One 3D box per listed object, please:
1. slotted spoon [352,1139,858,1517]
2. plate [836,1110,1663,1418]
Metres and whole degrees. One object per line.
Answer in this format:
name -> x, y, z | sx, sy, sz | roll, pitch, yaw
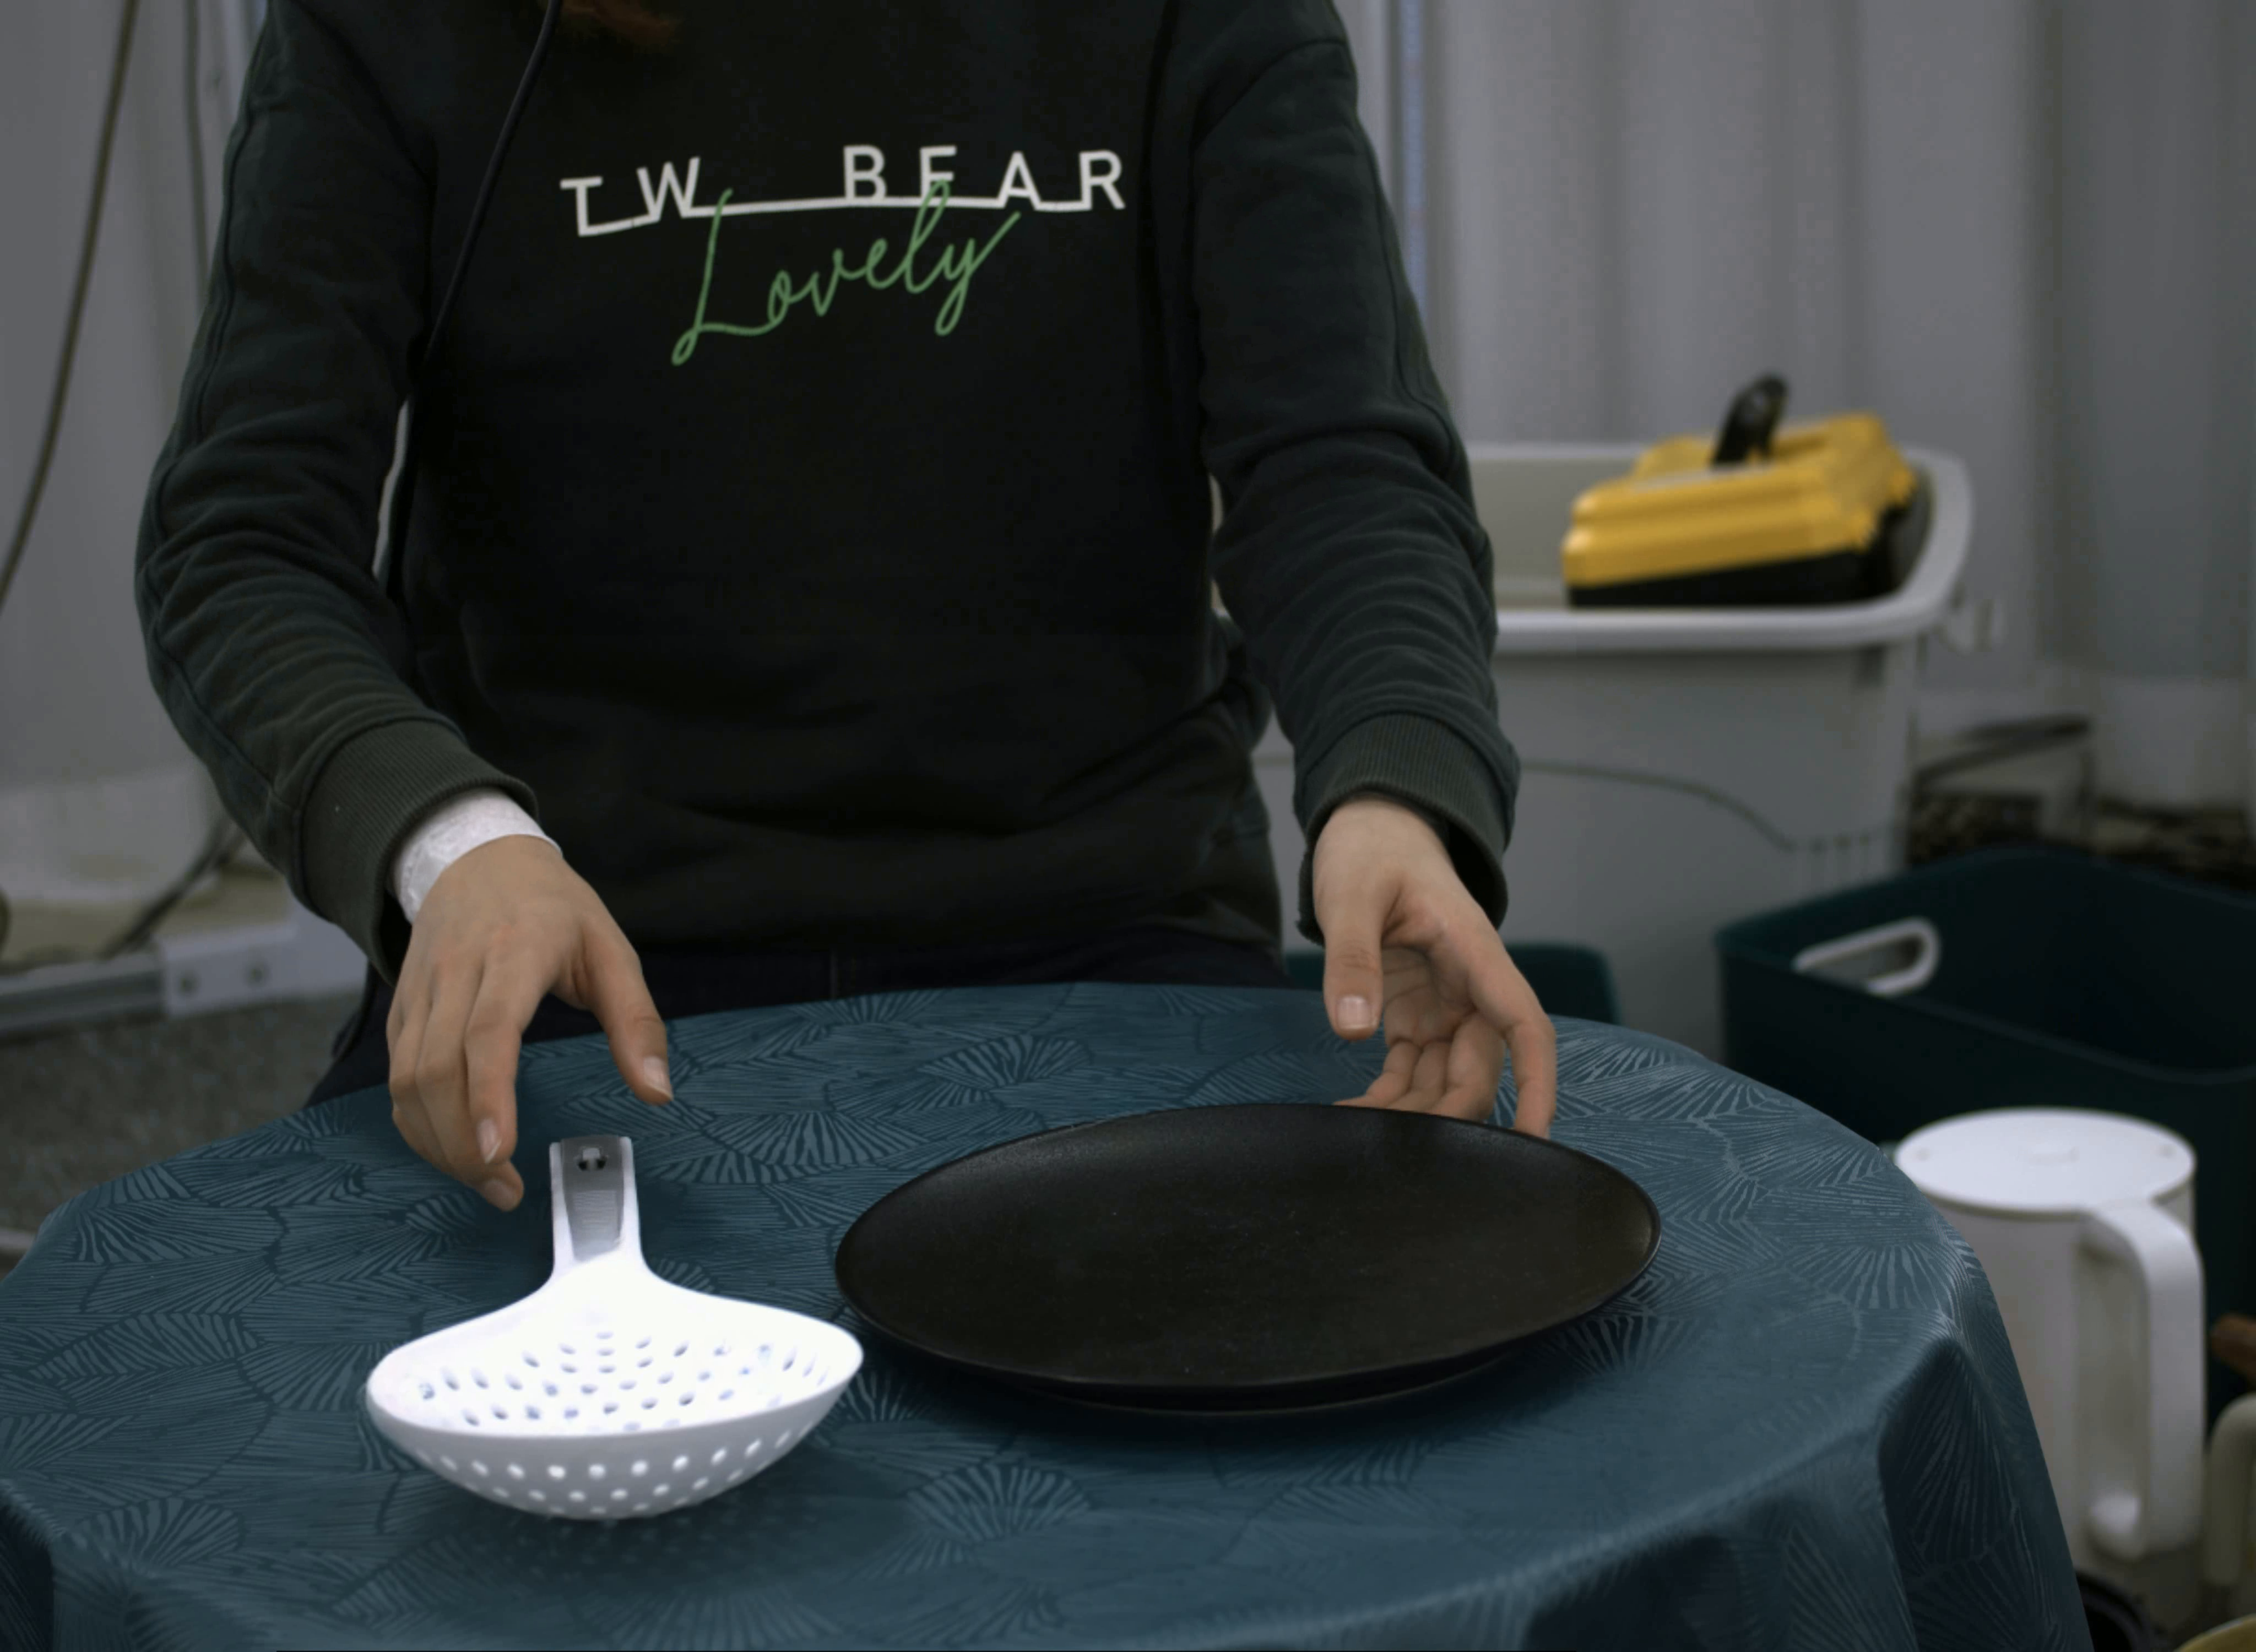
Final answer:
slotted spoon -> -0.152, 0.135, 1.578 | 0.135, 0.045, 0.352 | -2, 14, -6
plate -> 0.036, 0.130, 1.605 | 0.243, 0.023, 0.246 | -3, 15, 0
